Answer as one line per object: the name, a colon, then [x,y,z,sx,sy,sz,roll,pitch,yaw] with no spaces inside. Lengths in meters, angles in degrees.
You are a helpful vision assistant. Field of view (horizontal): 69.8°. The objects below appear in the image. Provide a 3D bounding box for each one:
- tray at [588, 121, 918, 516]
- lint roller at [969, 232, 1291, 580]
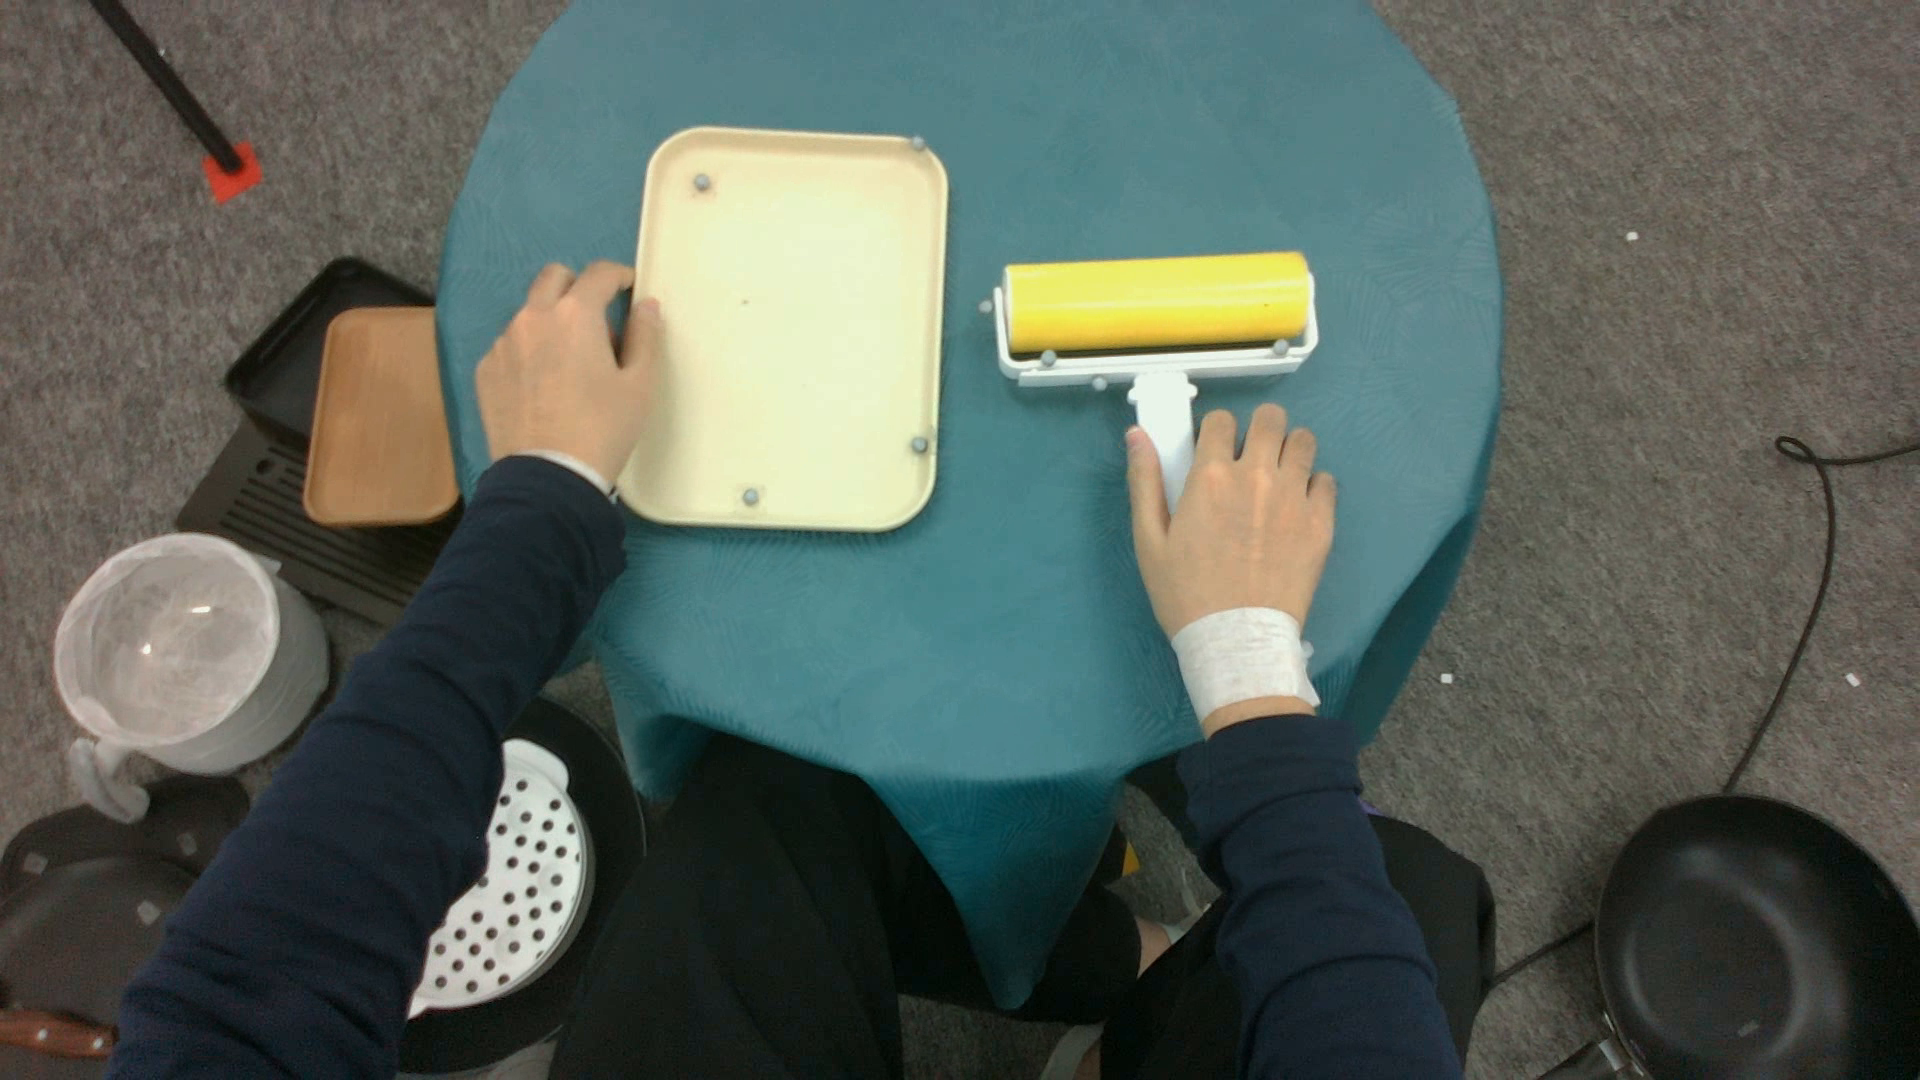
tray: [-0.109,-0.124,0.755,0.171,0.017,0.240,1,70,-2]
lint roller: [0.100,-0.075,0.726,0.174,0.051,0.192,-5,63,-4]
